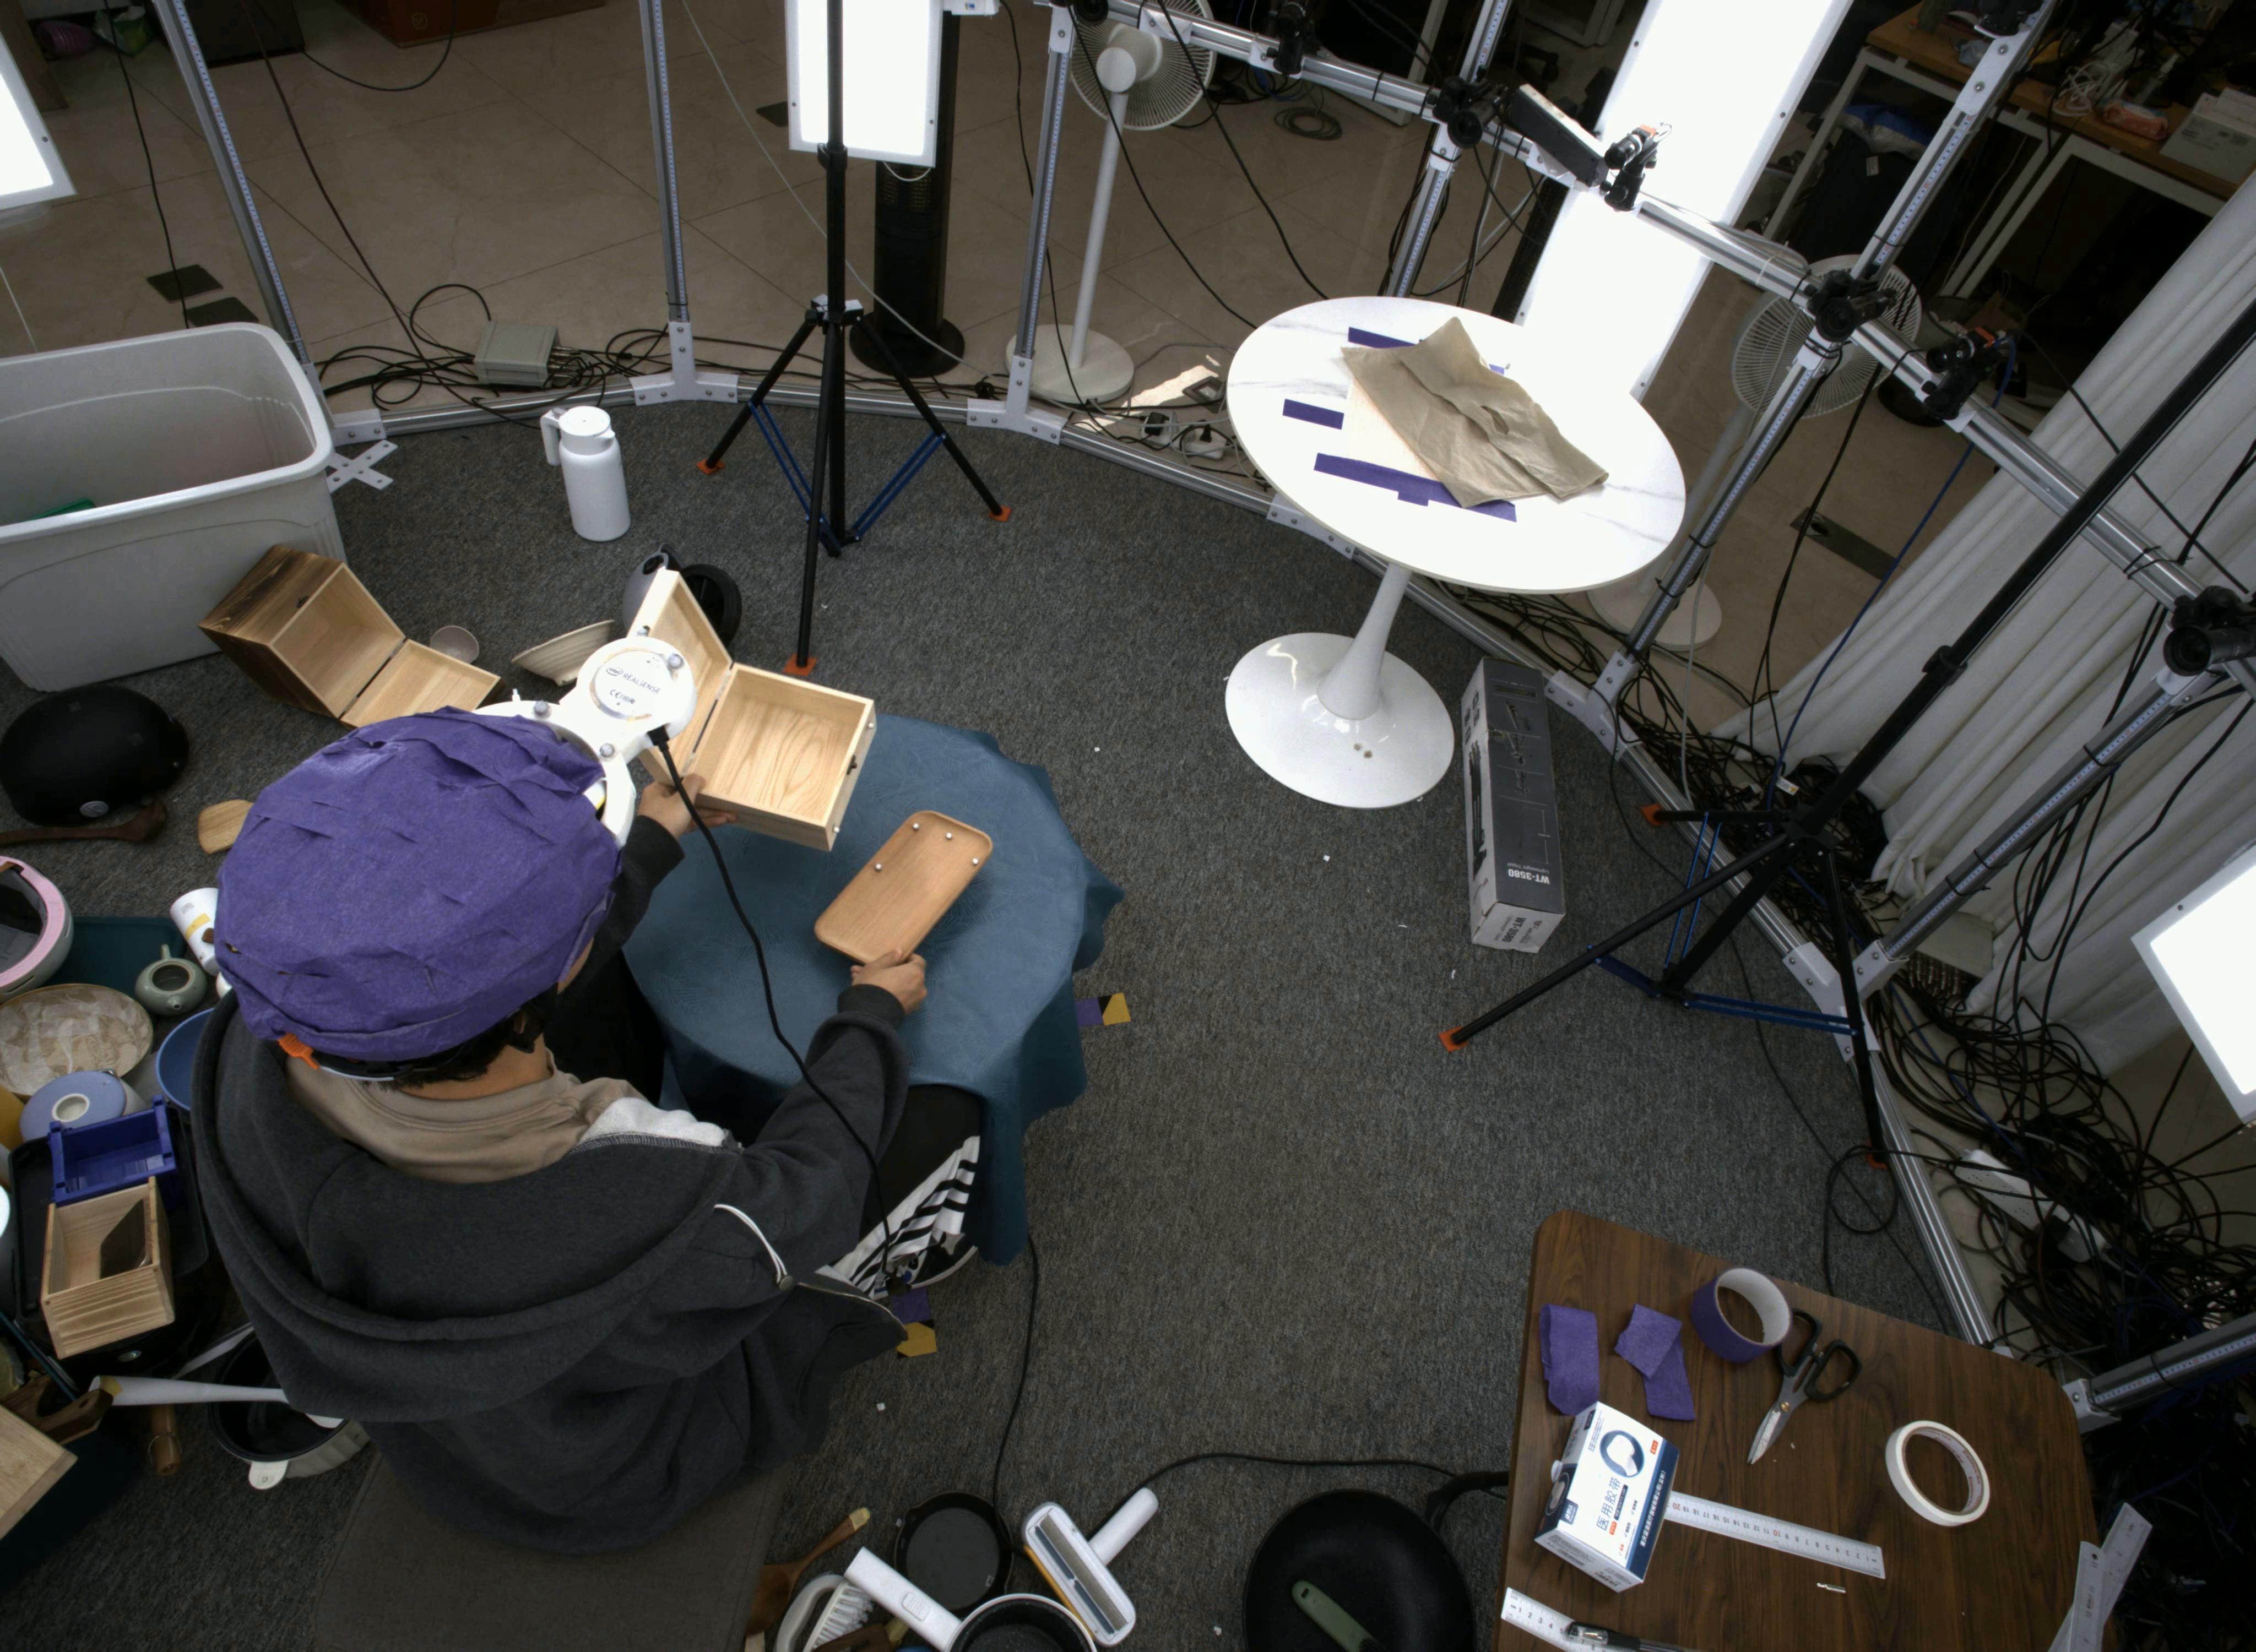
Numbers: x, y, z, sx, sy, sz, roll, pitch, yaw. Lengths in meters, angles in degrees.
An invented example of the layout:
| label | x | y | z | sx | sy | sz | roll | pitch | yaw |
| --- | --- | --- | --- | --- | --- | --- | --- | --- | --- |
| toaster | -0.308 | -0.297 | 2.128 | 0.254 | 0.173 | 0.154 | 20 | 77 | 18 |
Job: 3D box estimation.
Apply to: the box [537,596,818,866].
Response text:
| label | x | y | z | sx | sy | sz | roll | pitch | yaw |
| --- | --- | --- | --- | --- | --- | --- | --- | --- | --- |
| box | -0.513 | -0.106 | 1.471 | 0.263 | 0.256 | 0.181 | 11 | 69 | -3 |

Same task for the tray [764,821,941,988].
| label | x | y | z | sx | sy | sz | roll | pitch | yaw |
| --- | --- | --- | --- | --- | --- | --- | --- | --- | --- |
| tray | -0.339 | 0.093 | 1.618 | 0.127 | 0.023 | 0.249 | 19 | 50 | 15 |
